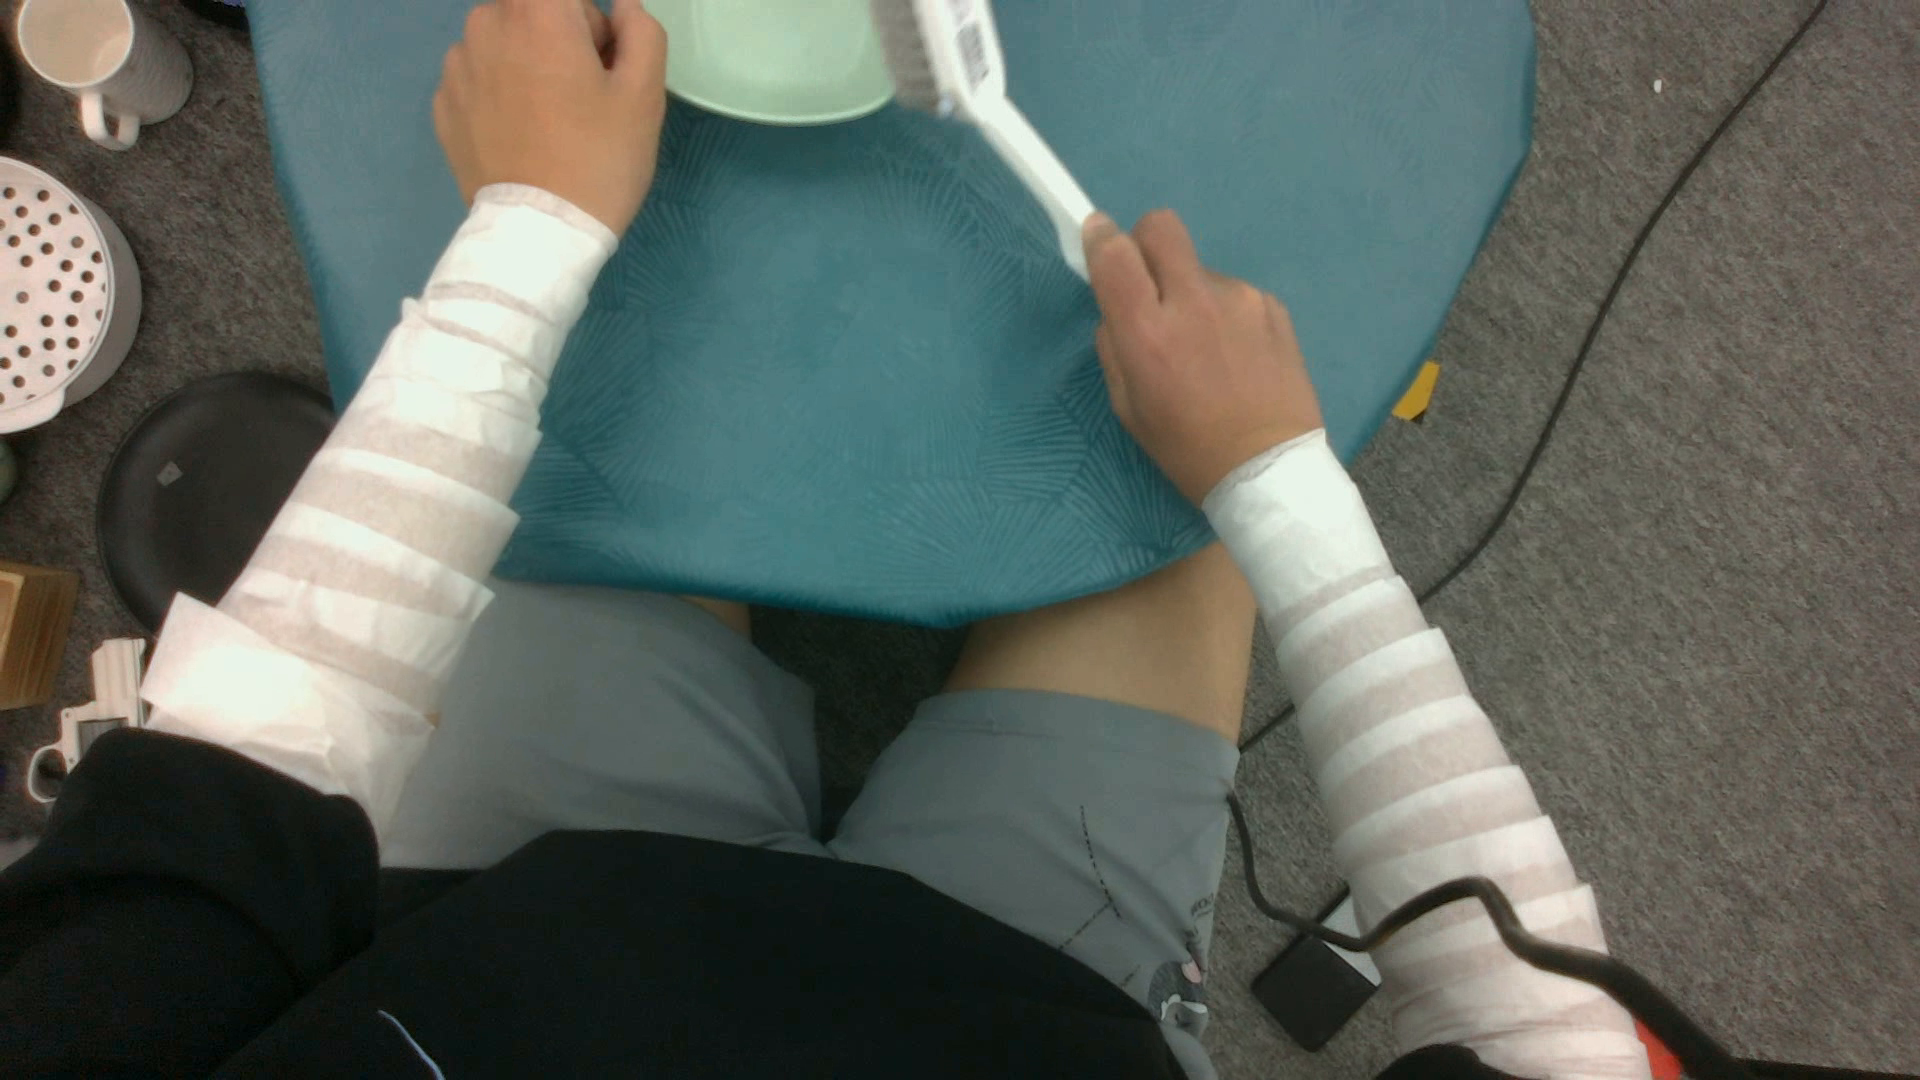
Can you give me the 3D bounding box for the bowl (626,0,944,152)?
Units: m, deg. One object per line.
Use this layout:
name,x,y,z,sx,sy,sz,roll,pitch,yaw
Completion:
bowl,-0.077,-0.238,0.630,0.151,0.058,0.151,0,87,-3

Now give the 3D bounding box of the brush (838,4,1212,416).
brush,0.033,-0.137,0.618,0.243,0.050,0.034,46,50,-30
